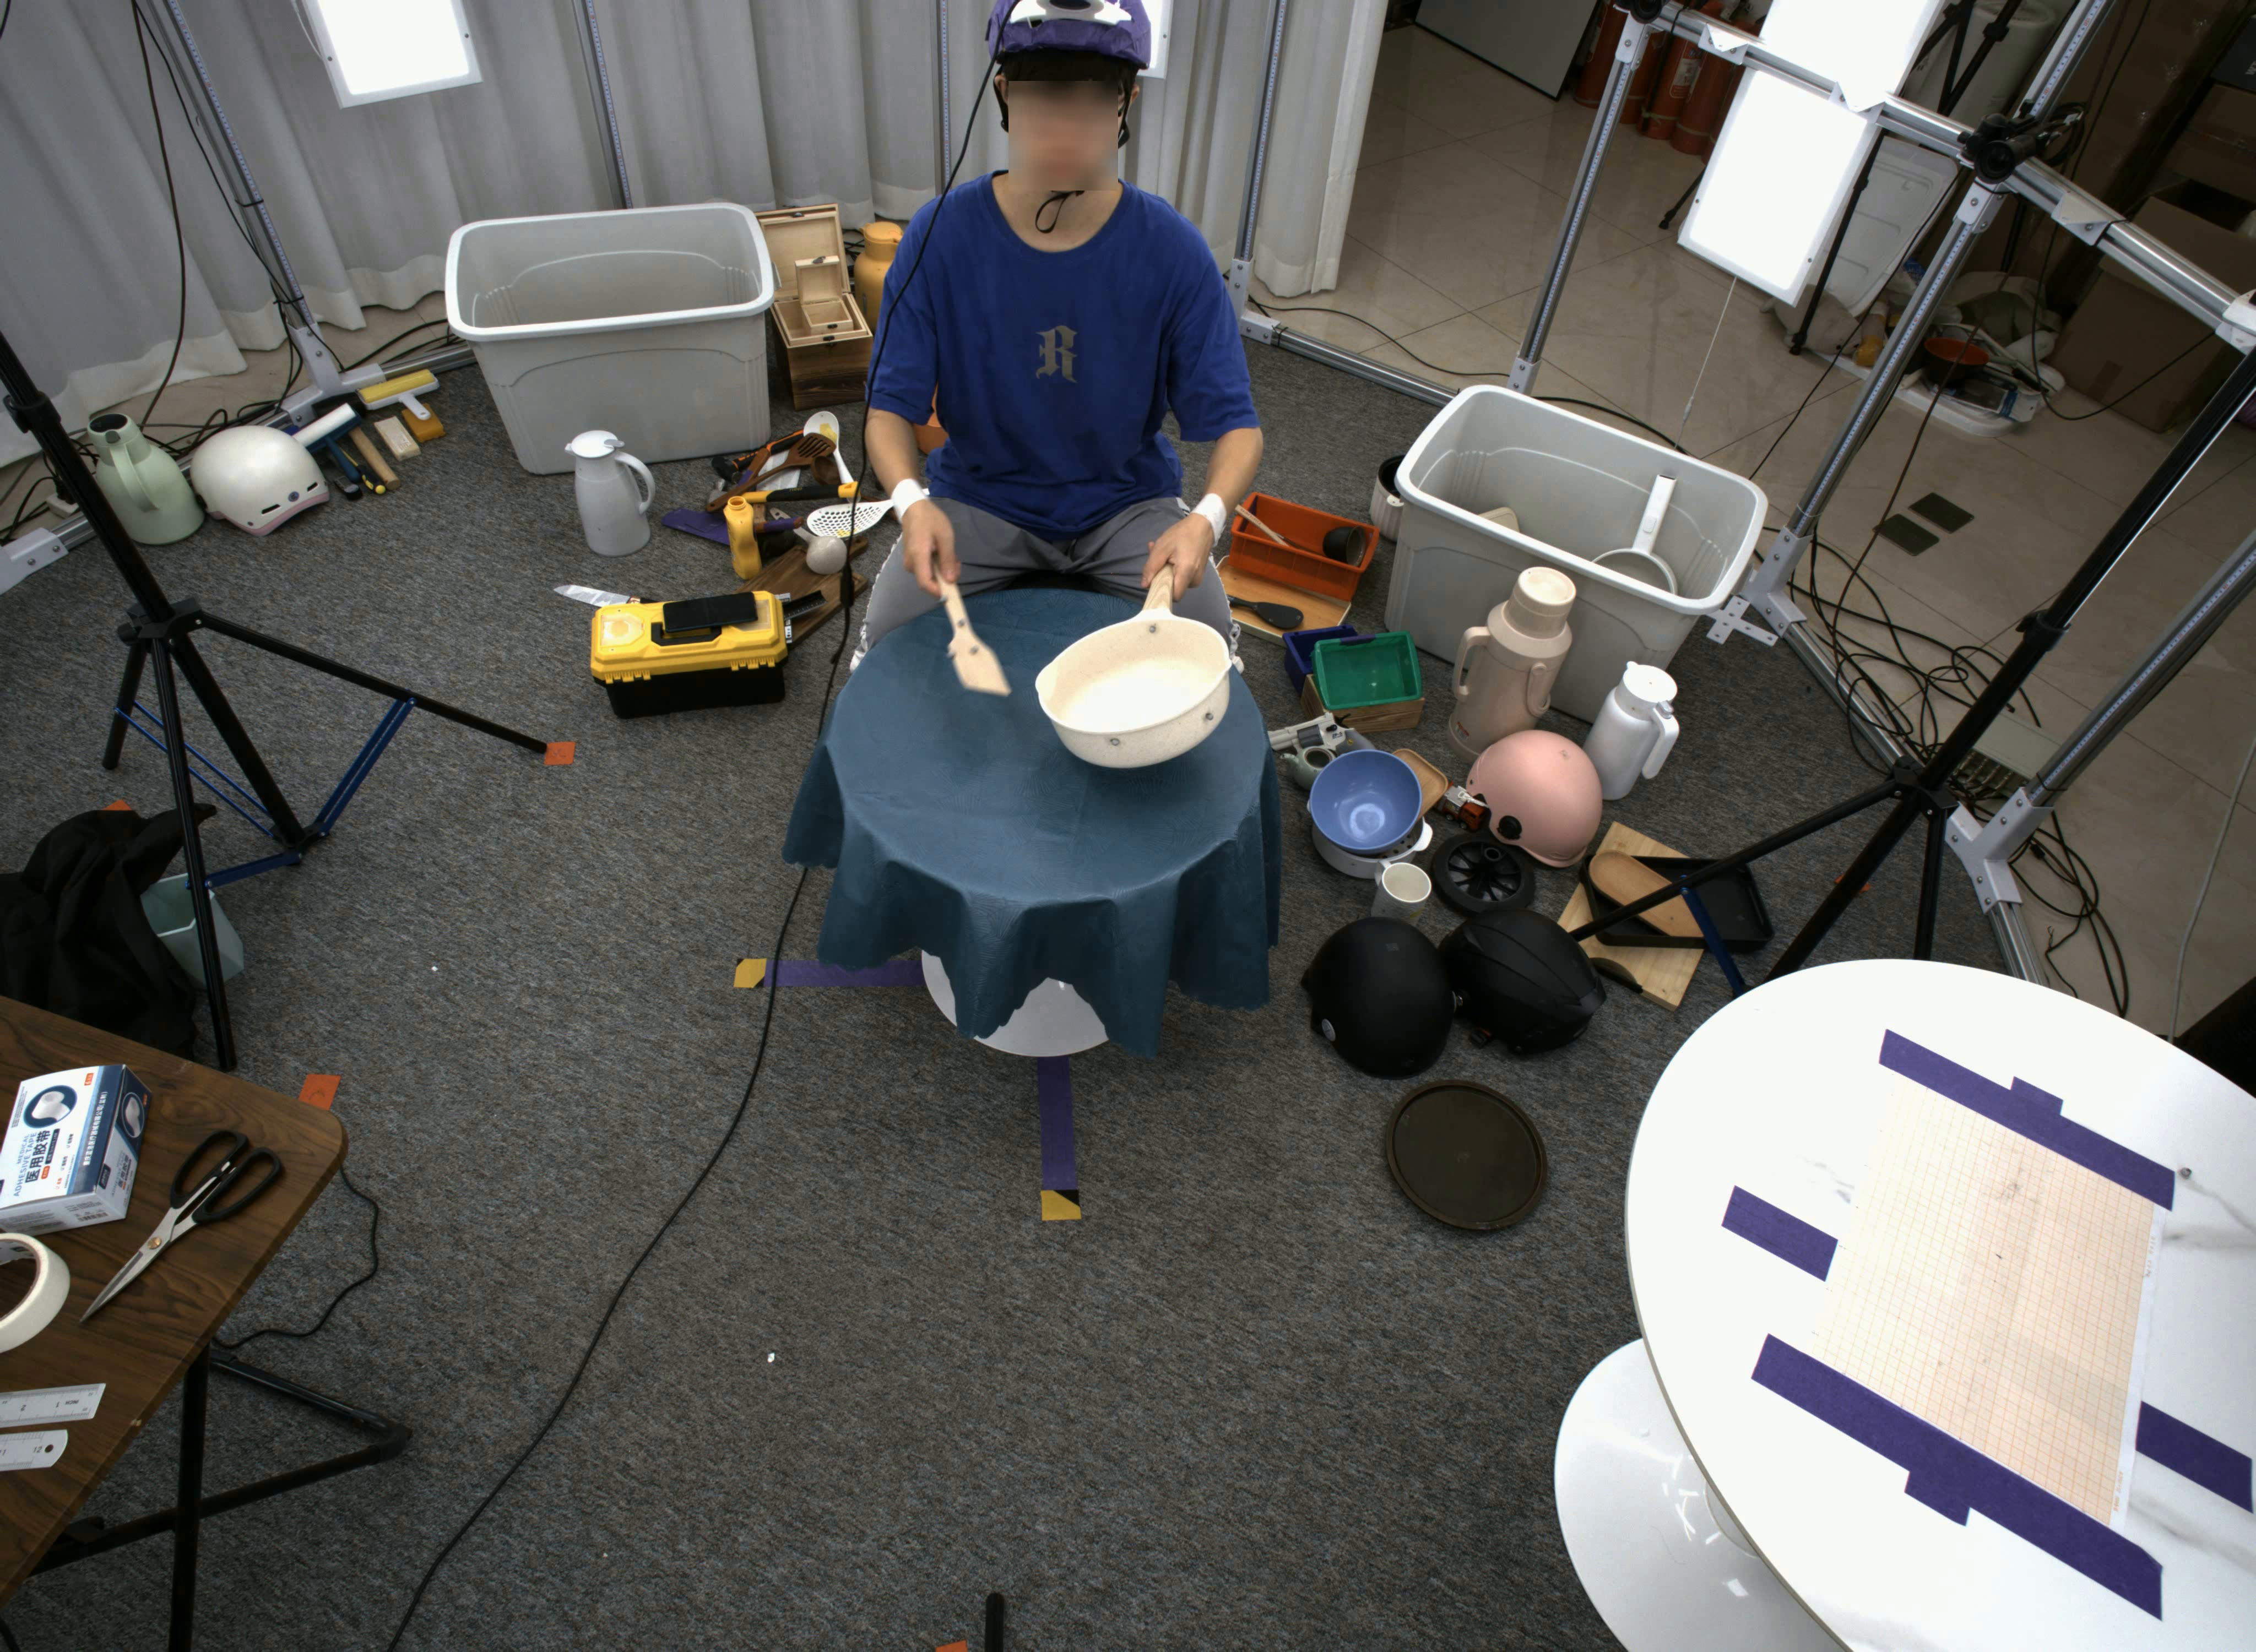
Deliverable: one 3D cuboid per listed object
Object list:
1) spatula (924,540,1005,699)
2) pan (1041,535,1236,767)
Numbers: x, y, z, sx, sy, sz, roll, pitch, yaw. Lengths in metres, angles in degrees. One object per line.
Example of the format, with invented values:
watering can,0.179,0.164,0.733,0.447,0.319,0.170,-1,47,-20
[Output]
spatula,-0.238,-0.290,1.780,0.071,0.010,0.299,7,49,-38
pan,0.037,-0.239,1.737,0.263,0.099,0.445,-4,40,19
